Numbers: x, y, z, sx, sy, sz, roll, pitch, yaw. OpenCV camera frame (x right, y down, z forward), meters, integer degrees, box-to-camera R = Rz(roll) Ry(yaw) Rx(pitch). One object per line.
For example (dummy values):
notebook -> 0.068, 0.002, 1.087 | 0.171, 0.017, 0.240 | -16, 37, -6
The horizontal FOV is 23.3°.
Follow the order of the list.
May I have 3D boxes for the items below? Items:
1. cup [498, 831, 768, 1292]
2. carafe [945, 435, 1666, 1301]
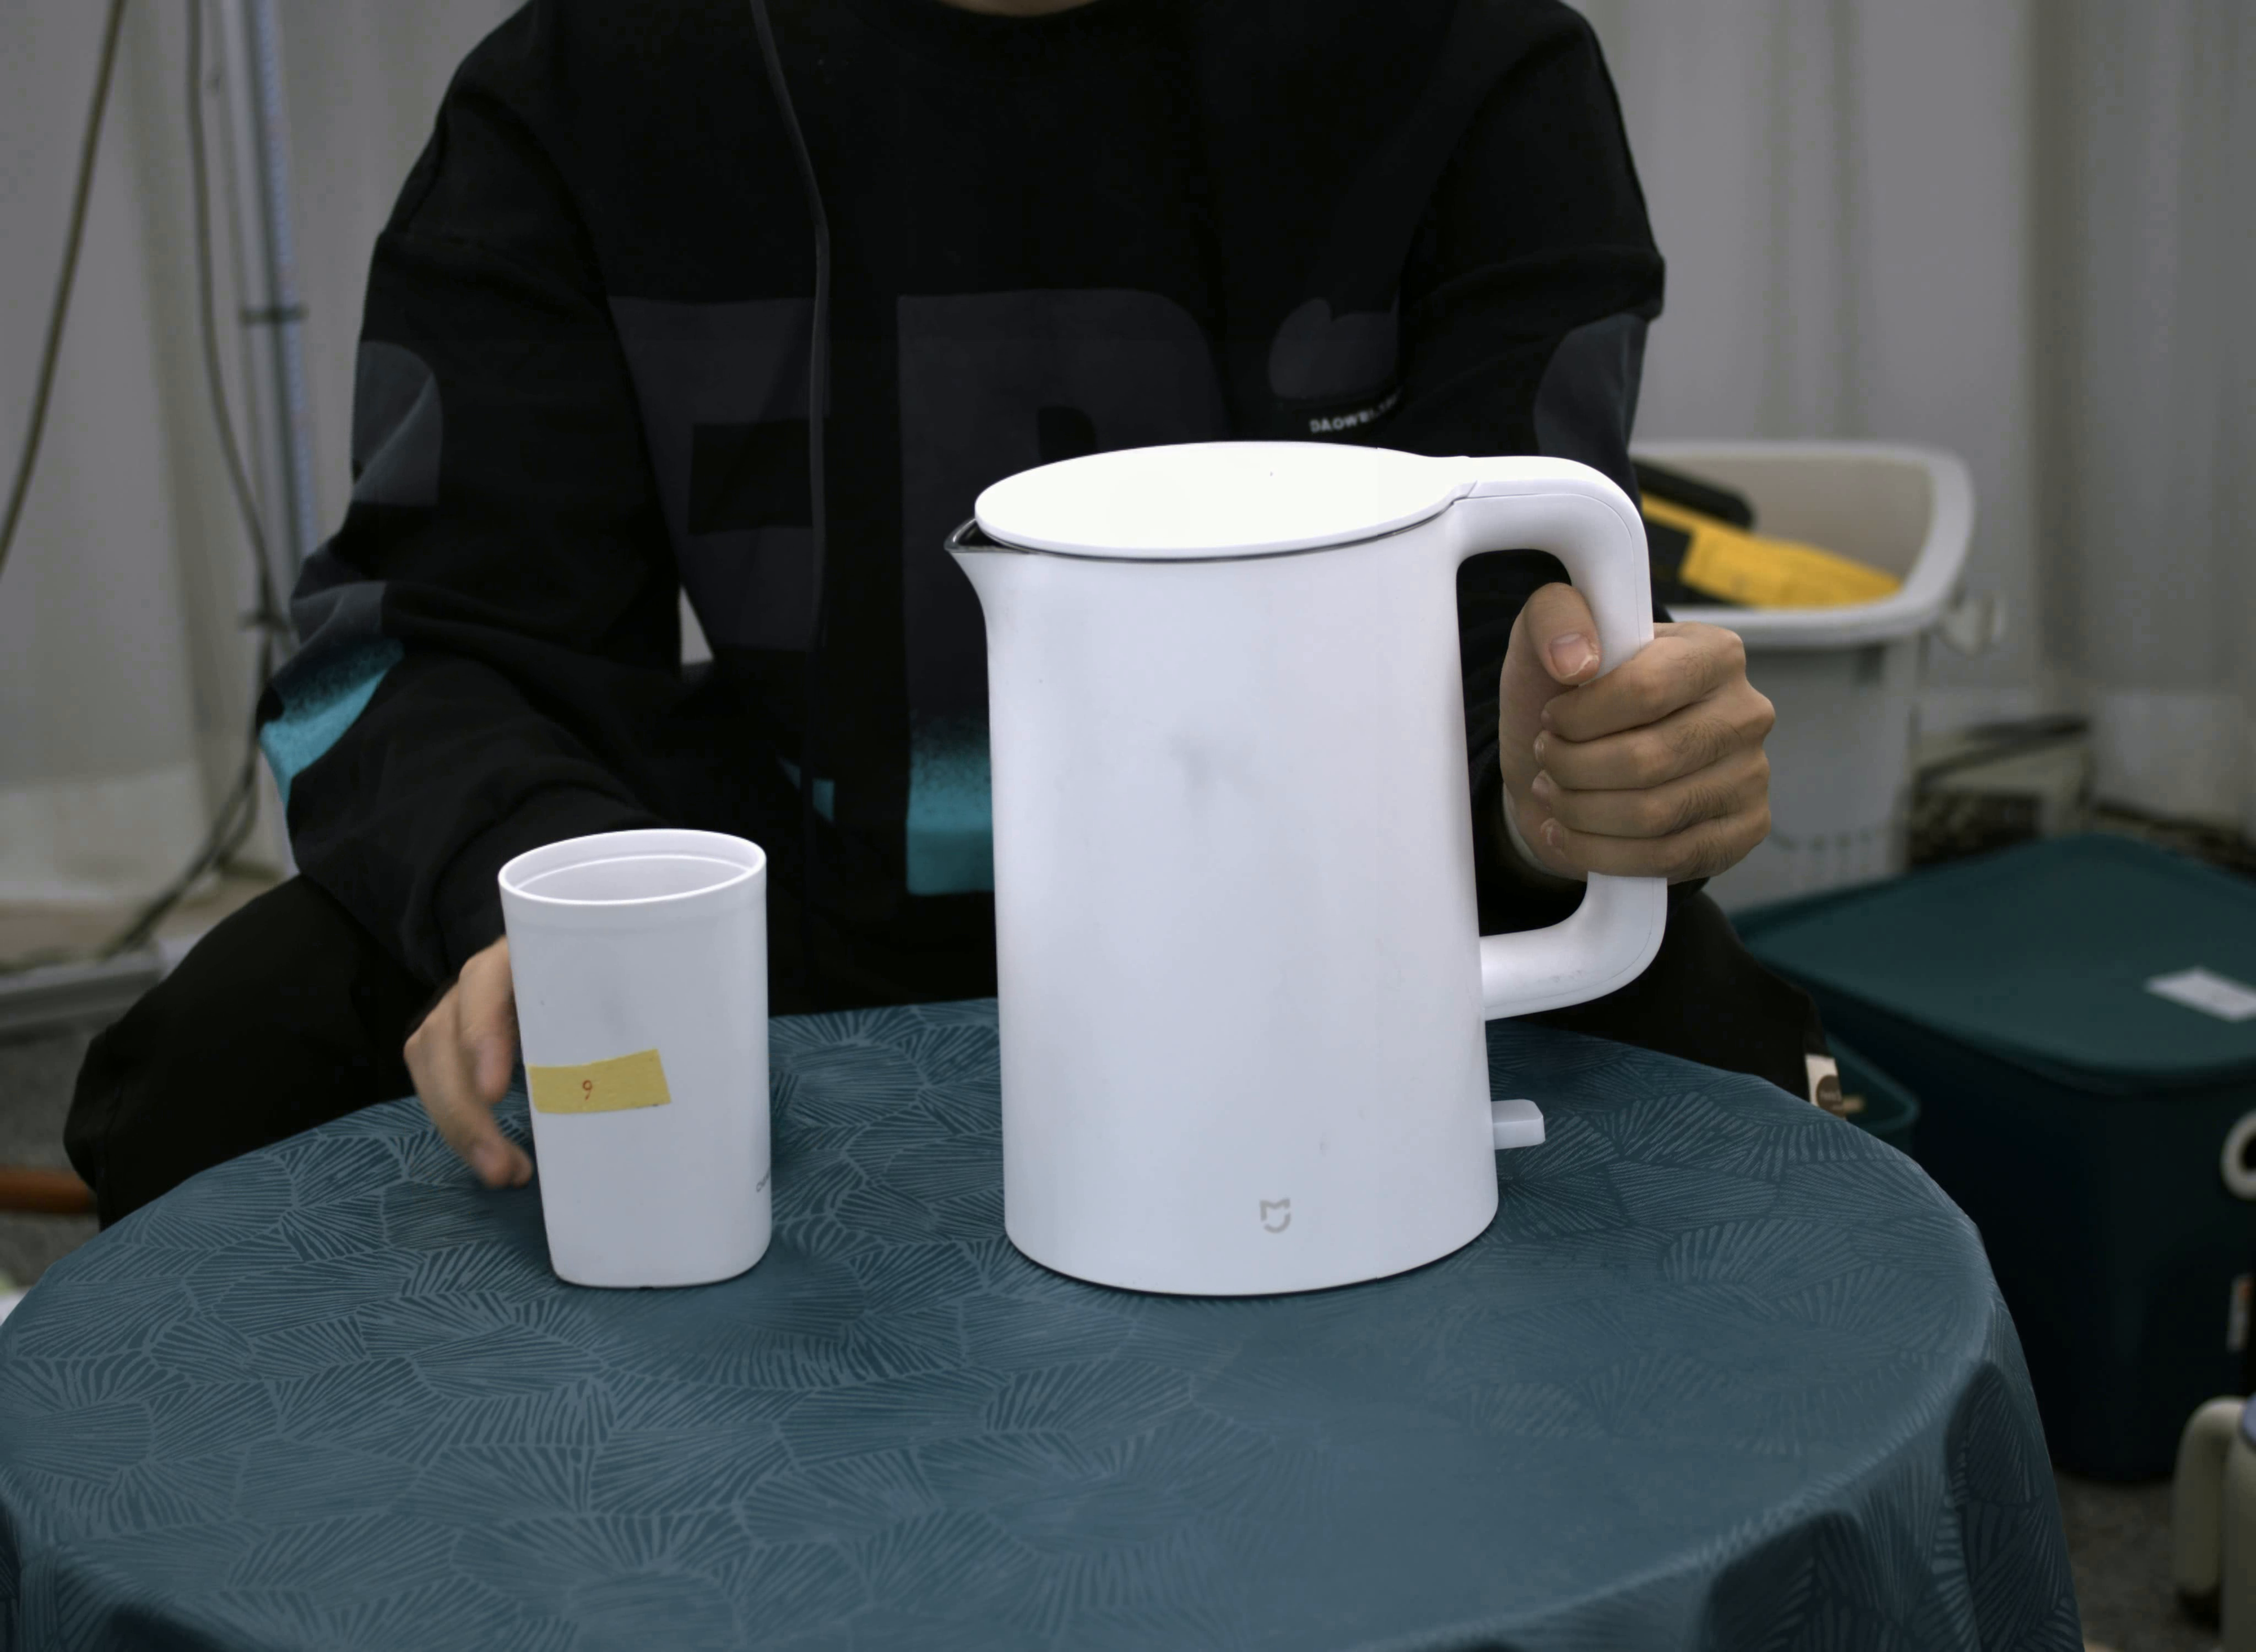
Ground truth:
cup -> -0.146, 0.072, 1.663 | 0.081, 0.125, 0.082 | -2, 14, 0
carafe -> 0.057, 0.007, 1.657 | 0.212, 0.239, 0.153 | -5, 15, -6
